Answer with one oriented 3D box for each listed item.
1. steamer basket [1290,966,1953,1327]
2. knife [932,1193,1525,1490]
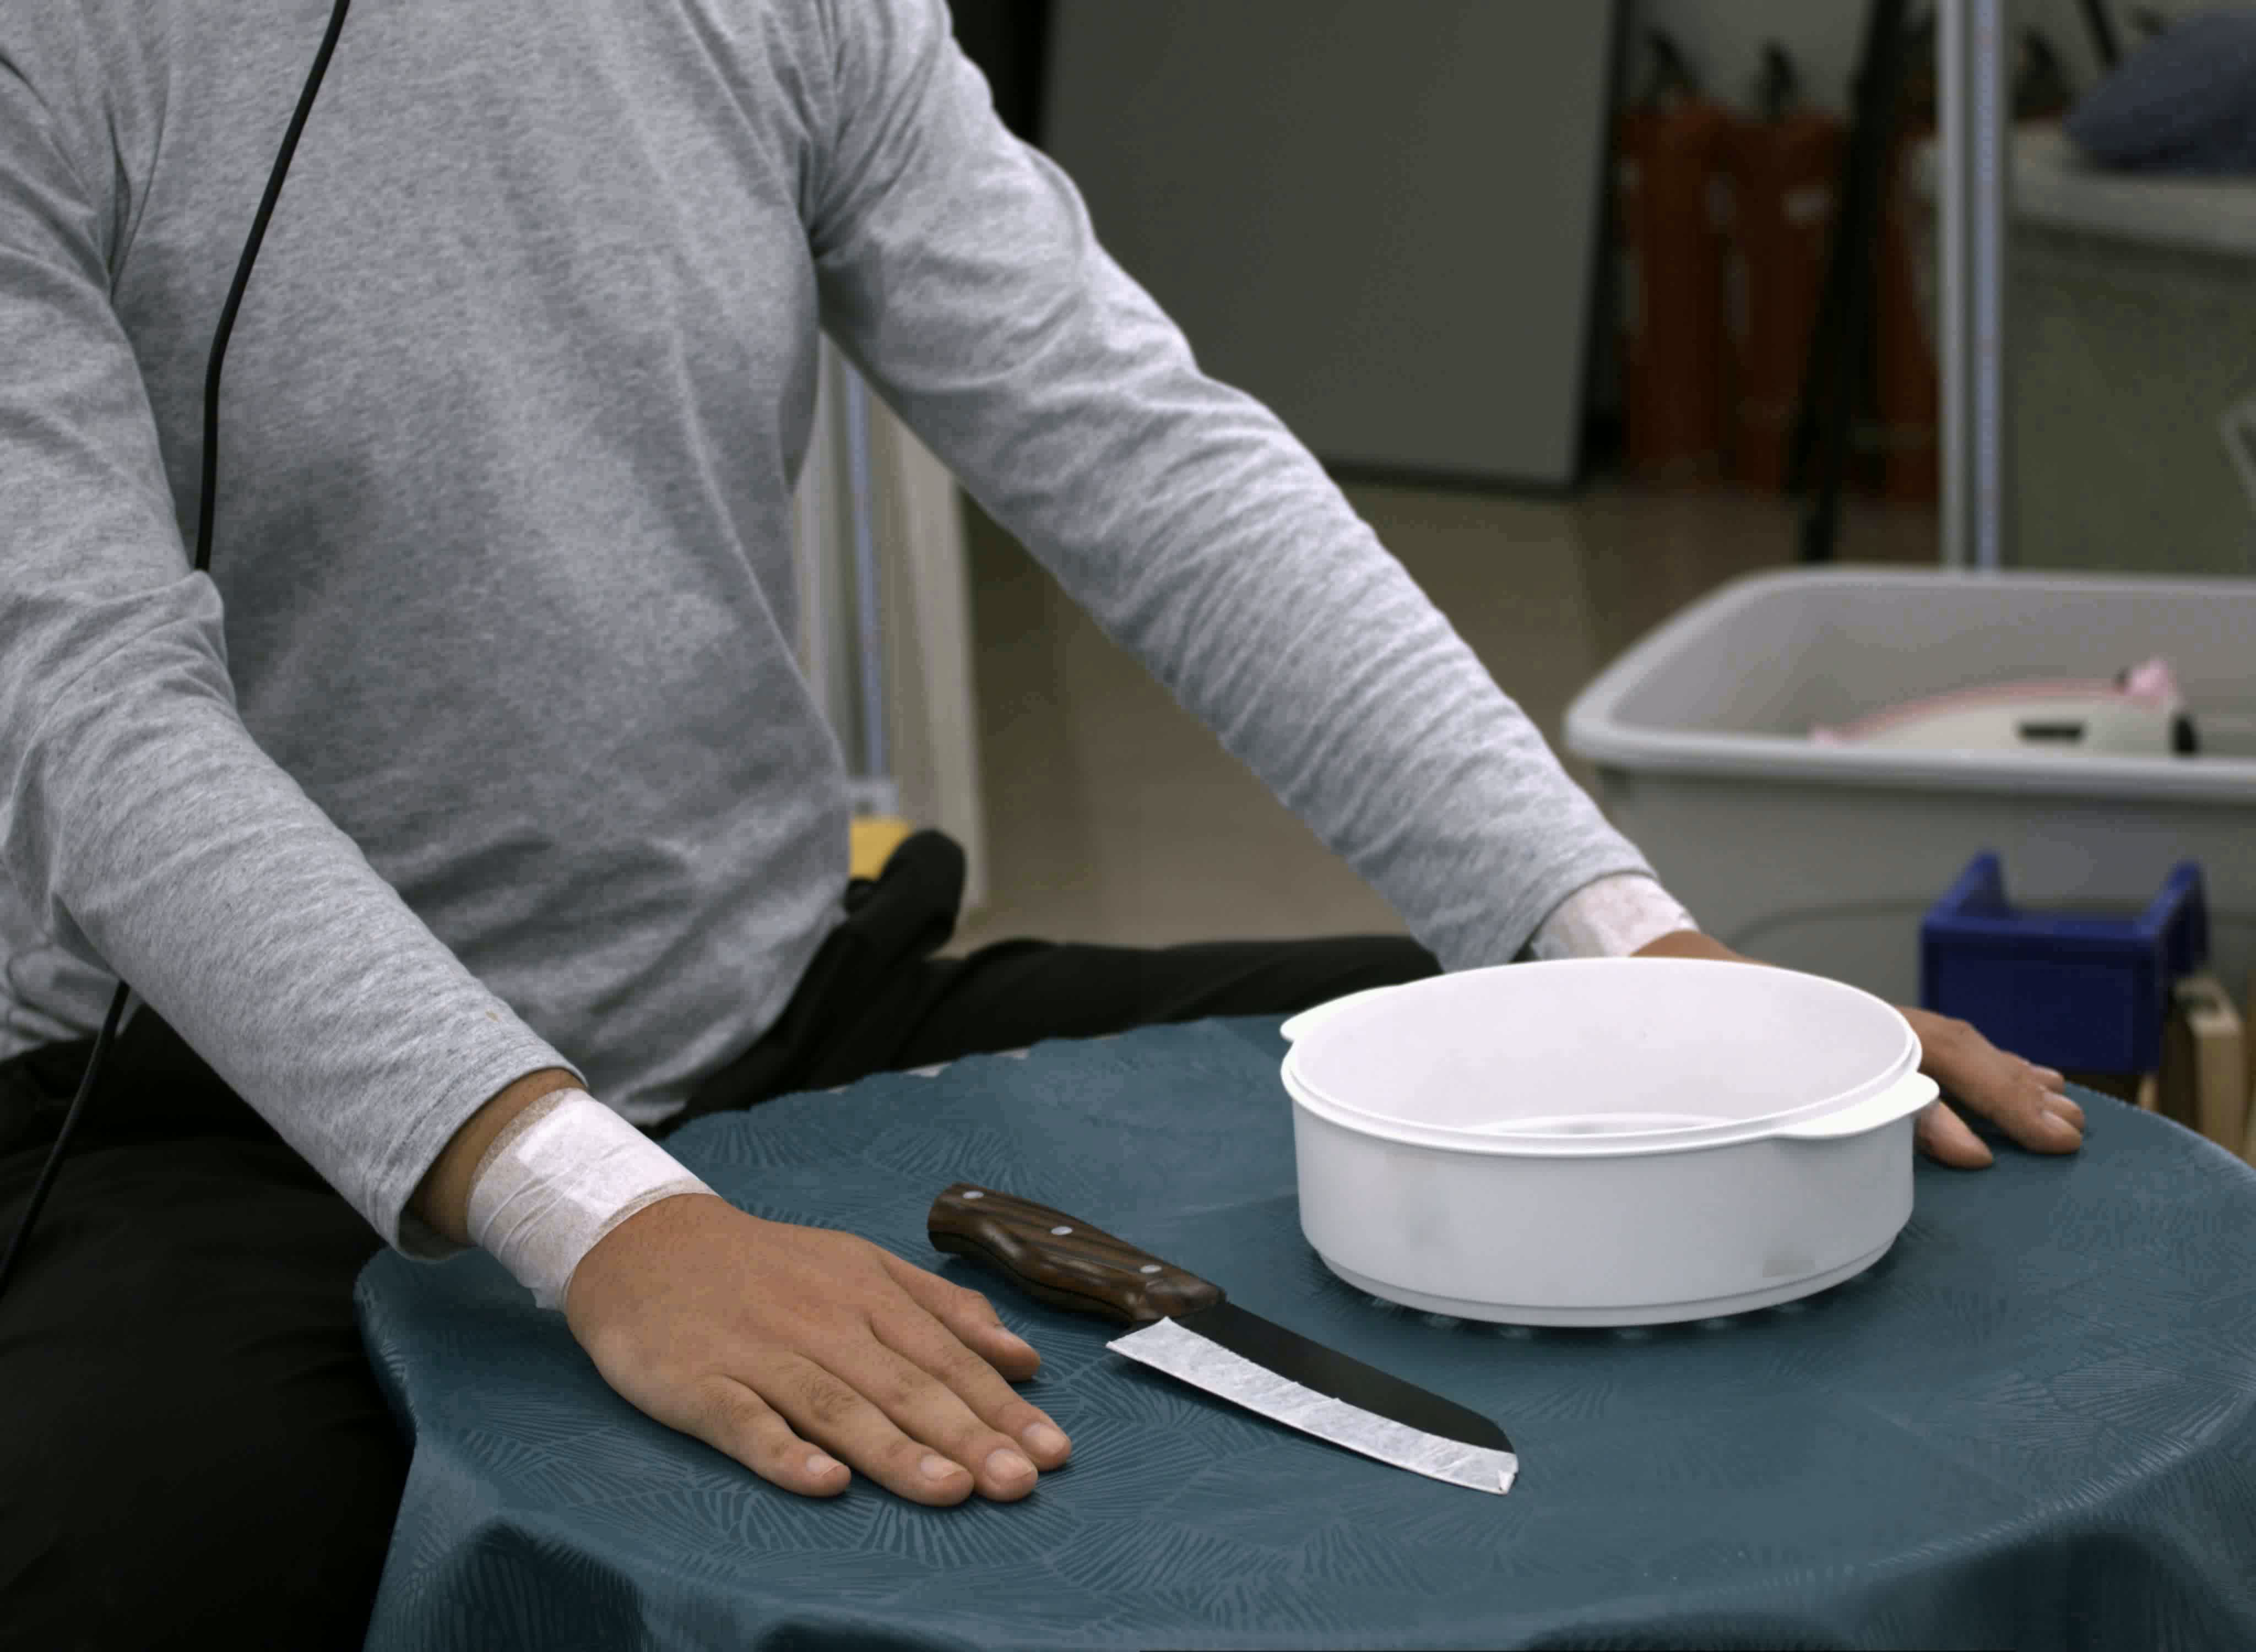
[{"bbox_3d":[0.152,0.100,1.677,0.232,0.070,0.198,7,17,43],"label":"steamer basket"},{"bbox_3d":[0.026,0.154,1.602,0.049,0.020,0.292,-19,21,-30],"label":"knife"}]
